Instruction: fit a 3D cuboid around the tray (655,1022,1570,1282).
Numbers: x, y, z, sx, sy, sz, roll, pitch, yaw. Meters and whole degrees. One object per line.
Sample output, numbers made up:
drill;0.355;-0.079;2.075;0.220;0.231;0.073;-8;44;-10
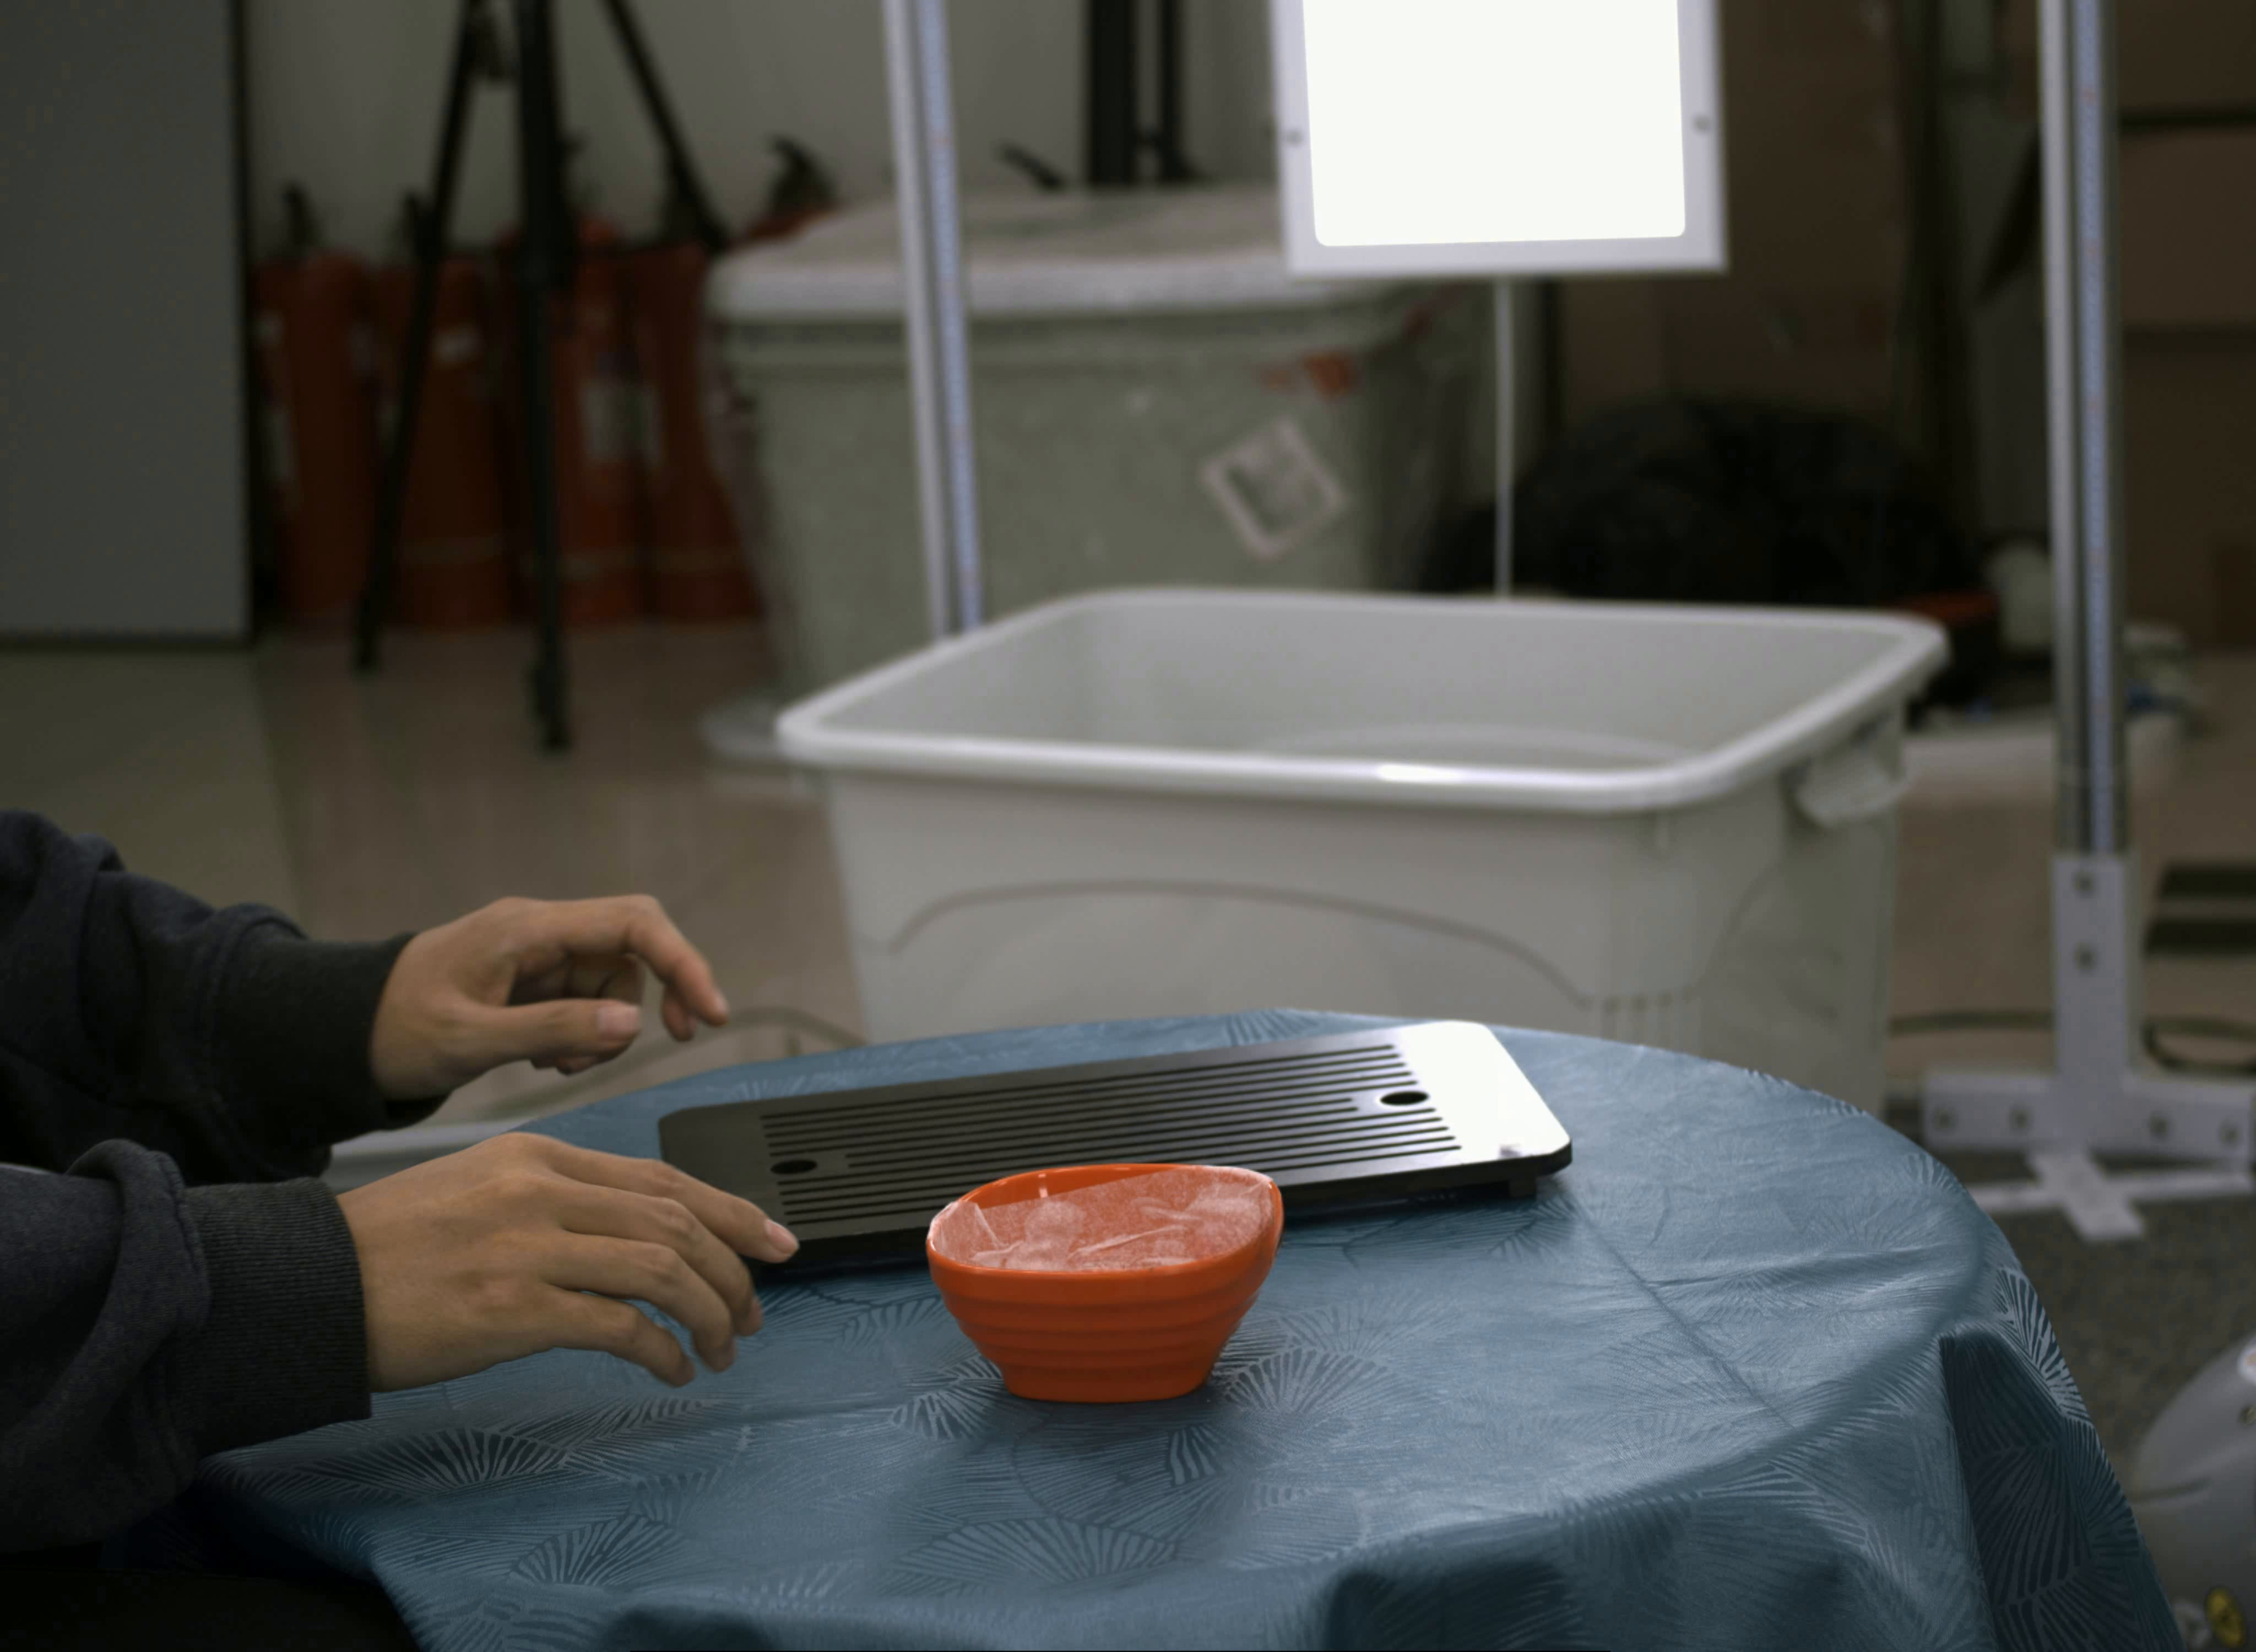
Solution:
tray;-0.009;0.113;1.918;0.304;0.019;0.170;-7;14;-5

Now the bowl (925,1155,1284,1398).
bowl;-0.006;0.143;1.717;0.118;0.051;0.119;-4;15;0
